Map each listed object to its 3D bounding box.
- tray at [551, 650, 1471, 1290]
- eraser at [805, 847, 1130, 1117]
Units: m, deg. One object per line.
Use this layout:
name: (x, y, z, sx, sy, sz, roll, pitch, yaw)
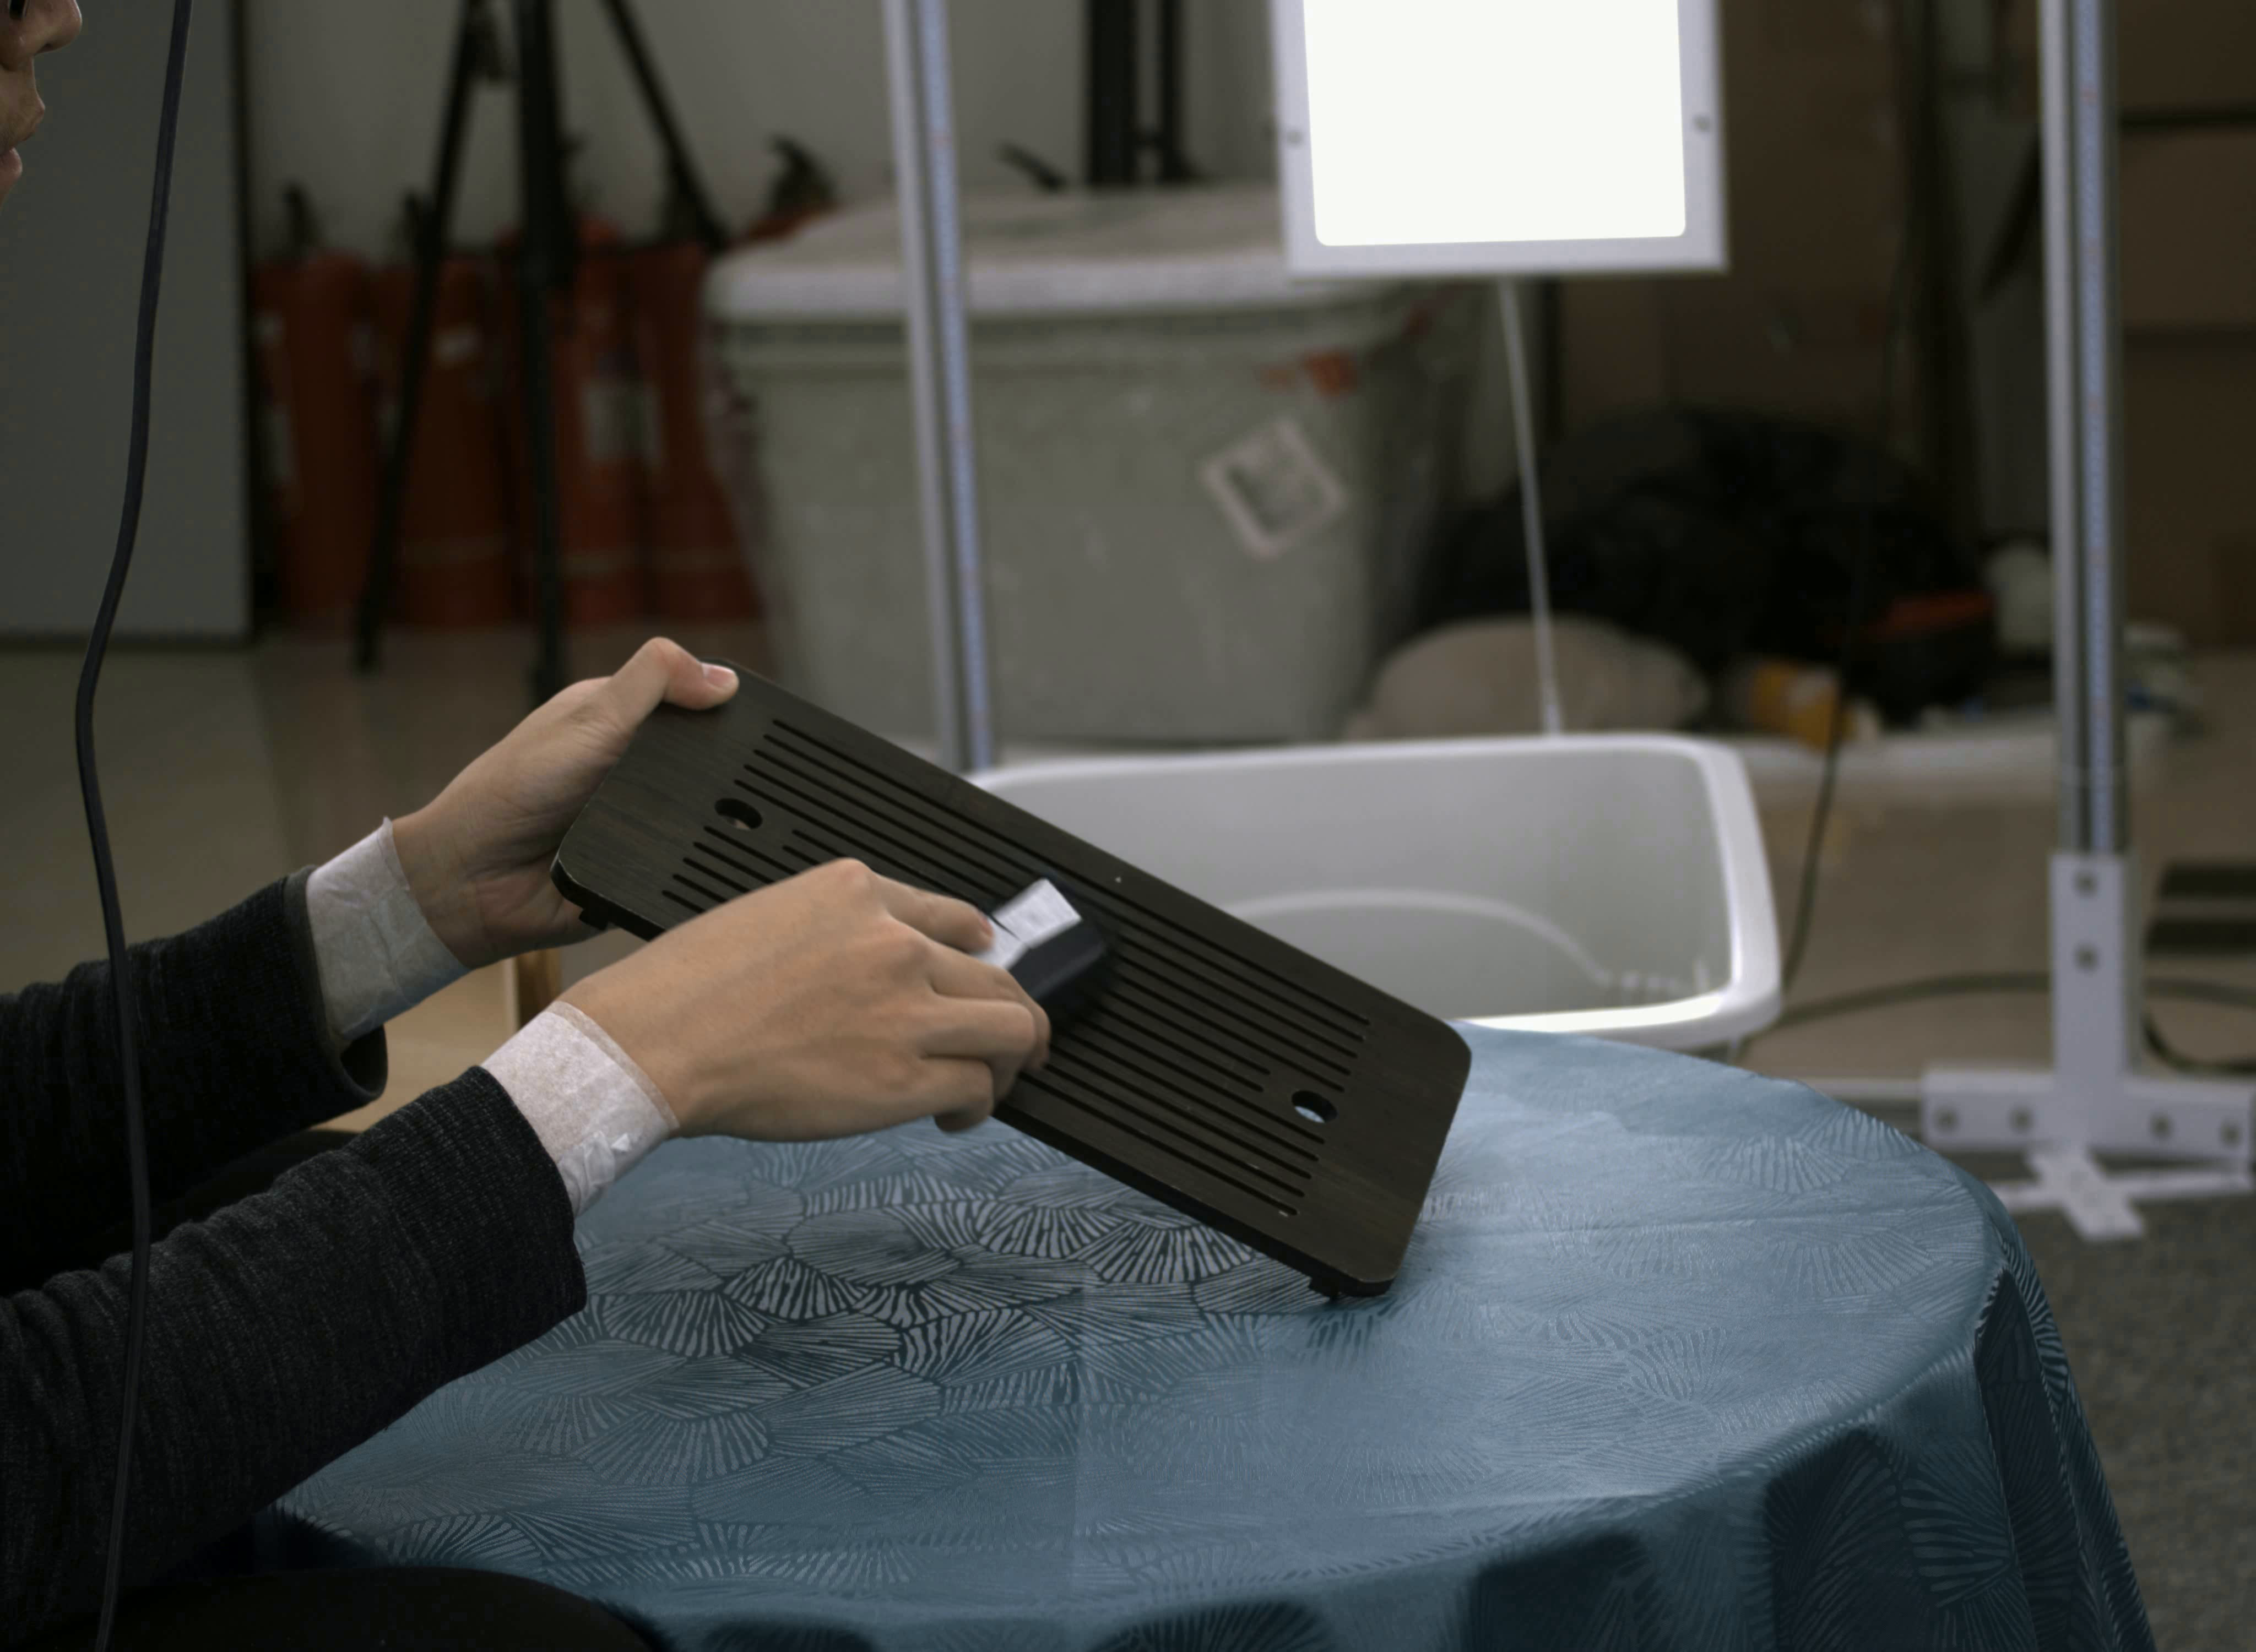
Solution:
tray: (-0.035, 0.047, 1.839, 0.306, 0.019, 0.168, 27, 31, 2)
eraser: (-0.051, 0.048, 1.785, 0.054, 0.031, 0.123, 32, 34, 15)
